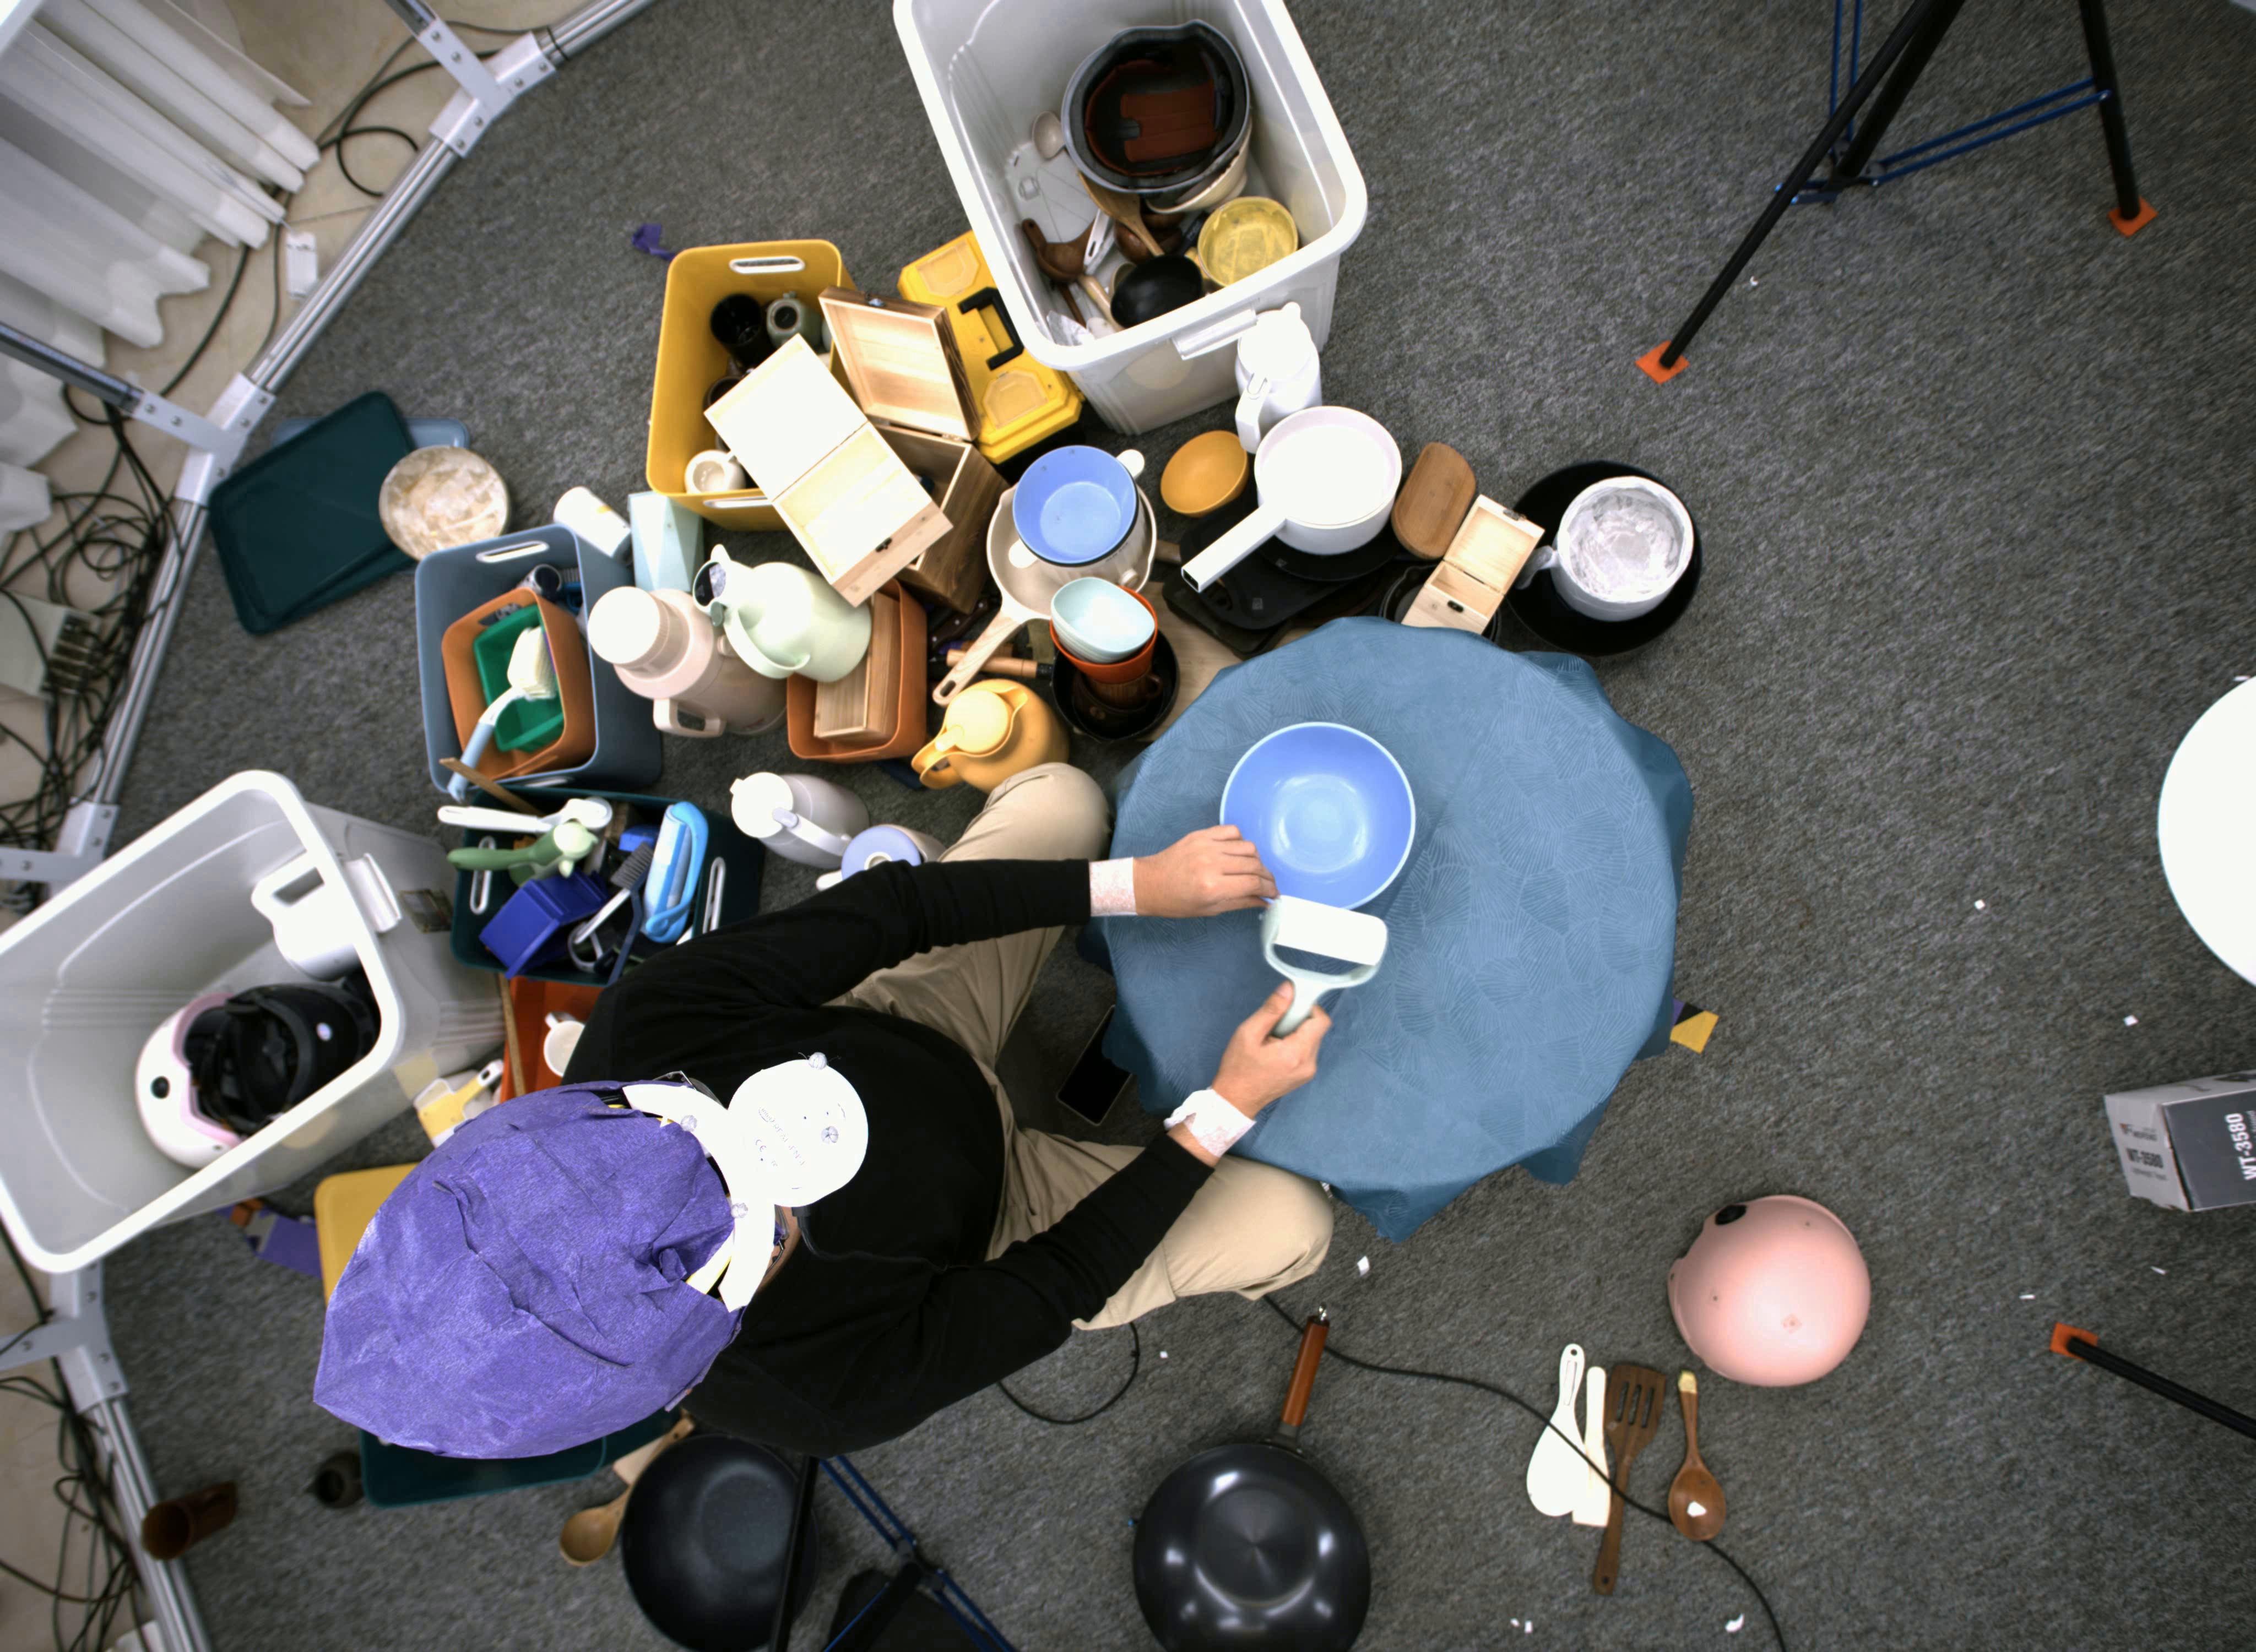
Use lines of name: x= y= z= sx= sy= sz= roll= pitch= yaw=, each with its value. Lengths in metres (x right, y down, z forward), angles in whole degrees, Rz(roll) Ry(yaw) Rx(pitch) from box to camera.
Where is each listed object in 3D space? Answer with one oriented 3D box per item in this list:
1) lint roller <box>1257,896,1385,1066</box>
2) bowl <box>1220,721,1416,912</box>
lint roller: x=0.165 y=0.162 z=1.355 sx=0.117 sy=0.047 sz=0.201 roll=13 pitch=117 yaw=-13
bowl: x=0.197 y=-0.005 z=1.429 sx=0.197 sy=0.095 sz=0.196 roll=-1 pitch=87 yaw=9
